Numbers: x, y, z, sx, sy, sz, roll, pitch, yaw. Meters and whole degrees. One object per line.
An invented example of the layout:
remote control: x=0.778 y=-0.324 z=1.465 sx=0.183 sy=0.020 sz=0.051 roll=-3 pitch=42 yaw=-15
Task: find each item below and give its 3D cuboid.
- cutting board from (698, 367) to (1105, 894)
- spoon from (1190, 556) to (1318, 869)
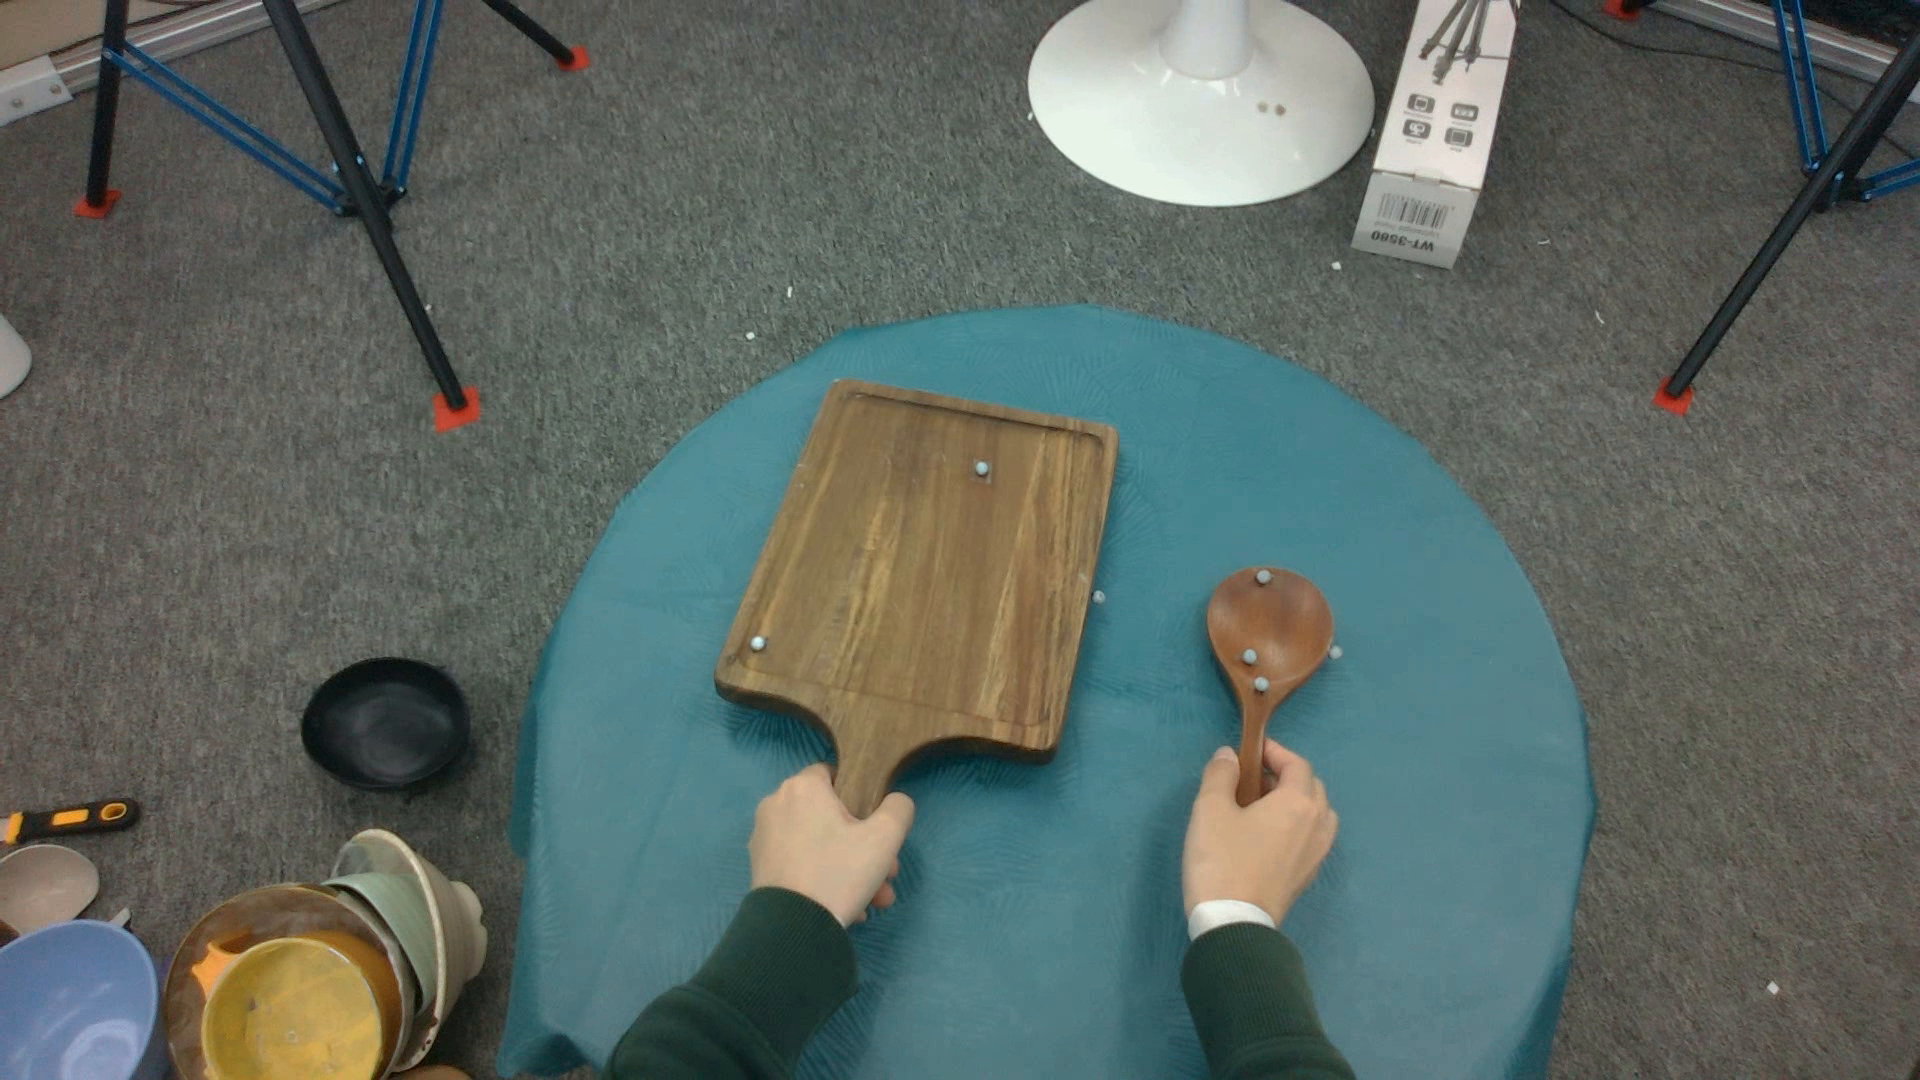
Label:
cutting board: x=-0.035 y=0.038 z=0.796 sx=0.201 sy=0.023 sz=0.354 roll=11 pitch=51 yaw=5
spoon: x=0.157 y=0.089 z=0.768 sx=0.075 sy=0.017 sz=0.217 roll=13 pitch=46 yaw=7
